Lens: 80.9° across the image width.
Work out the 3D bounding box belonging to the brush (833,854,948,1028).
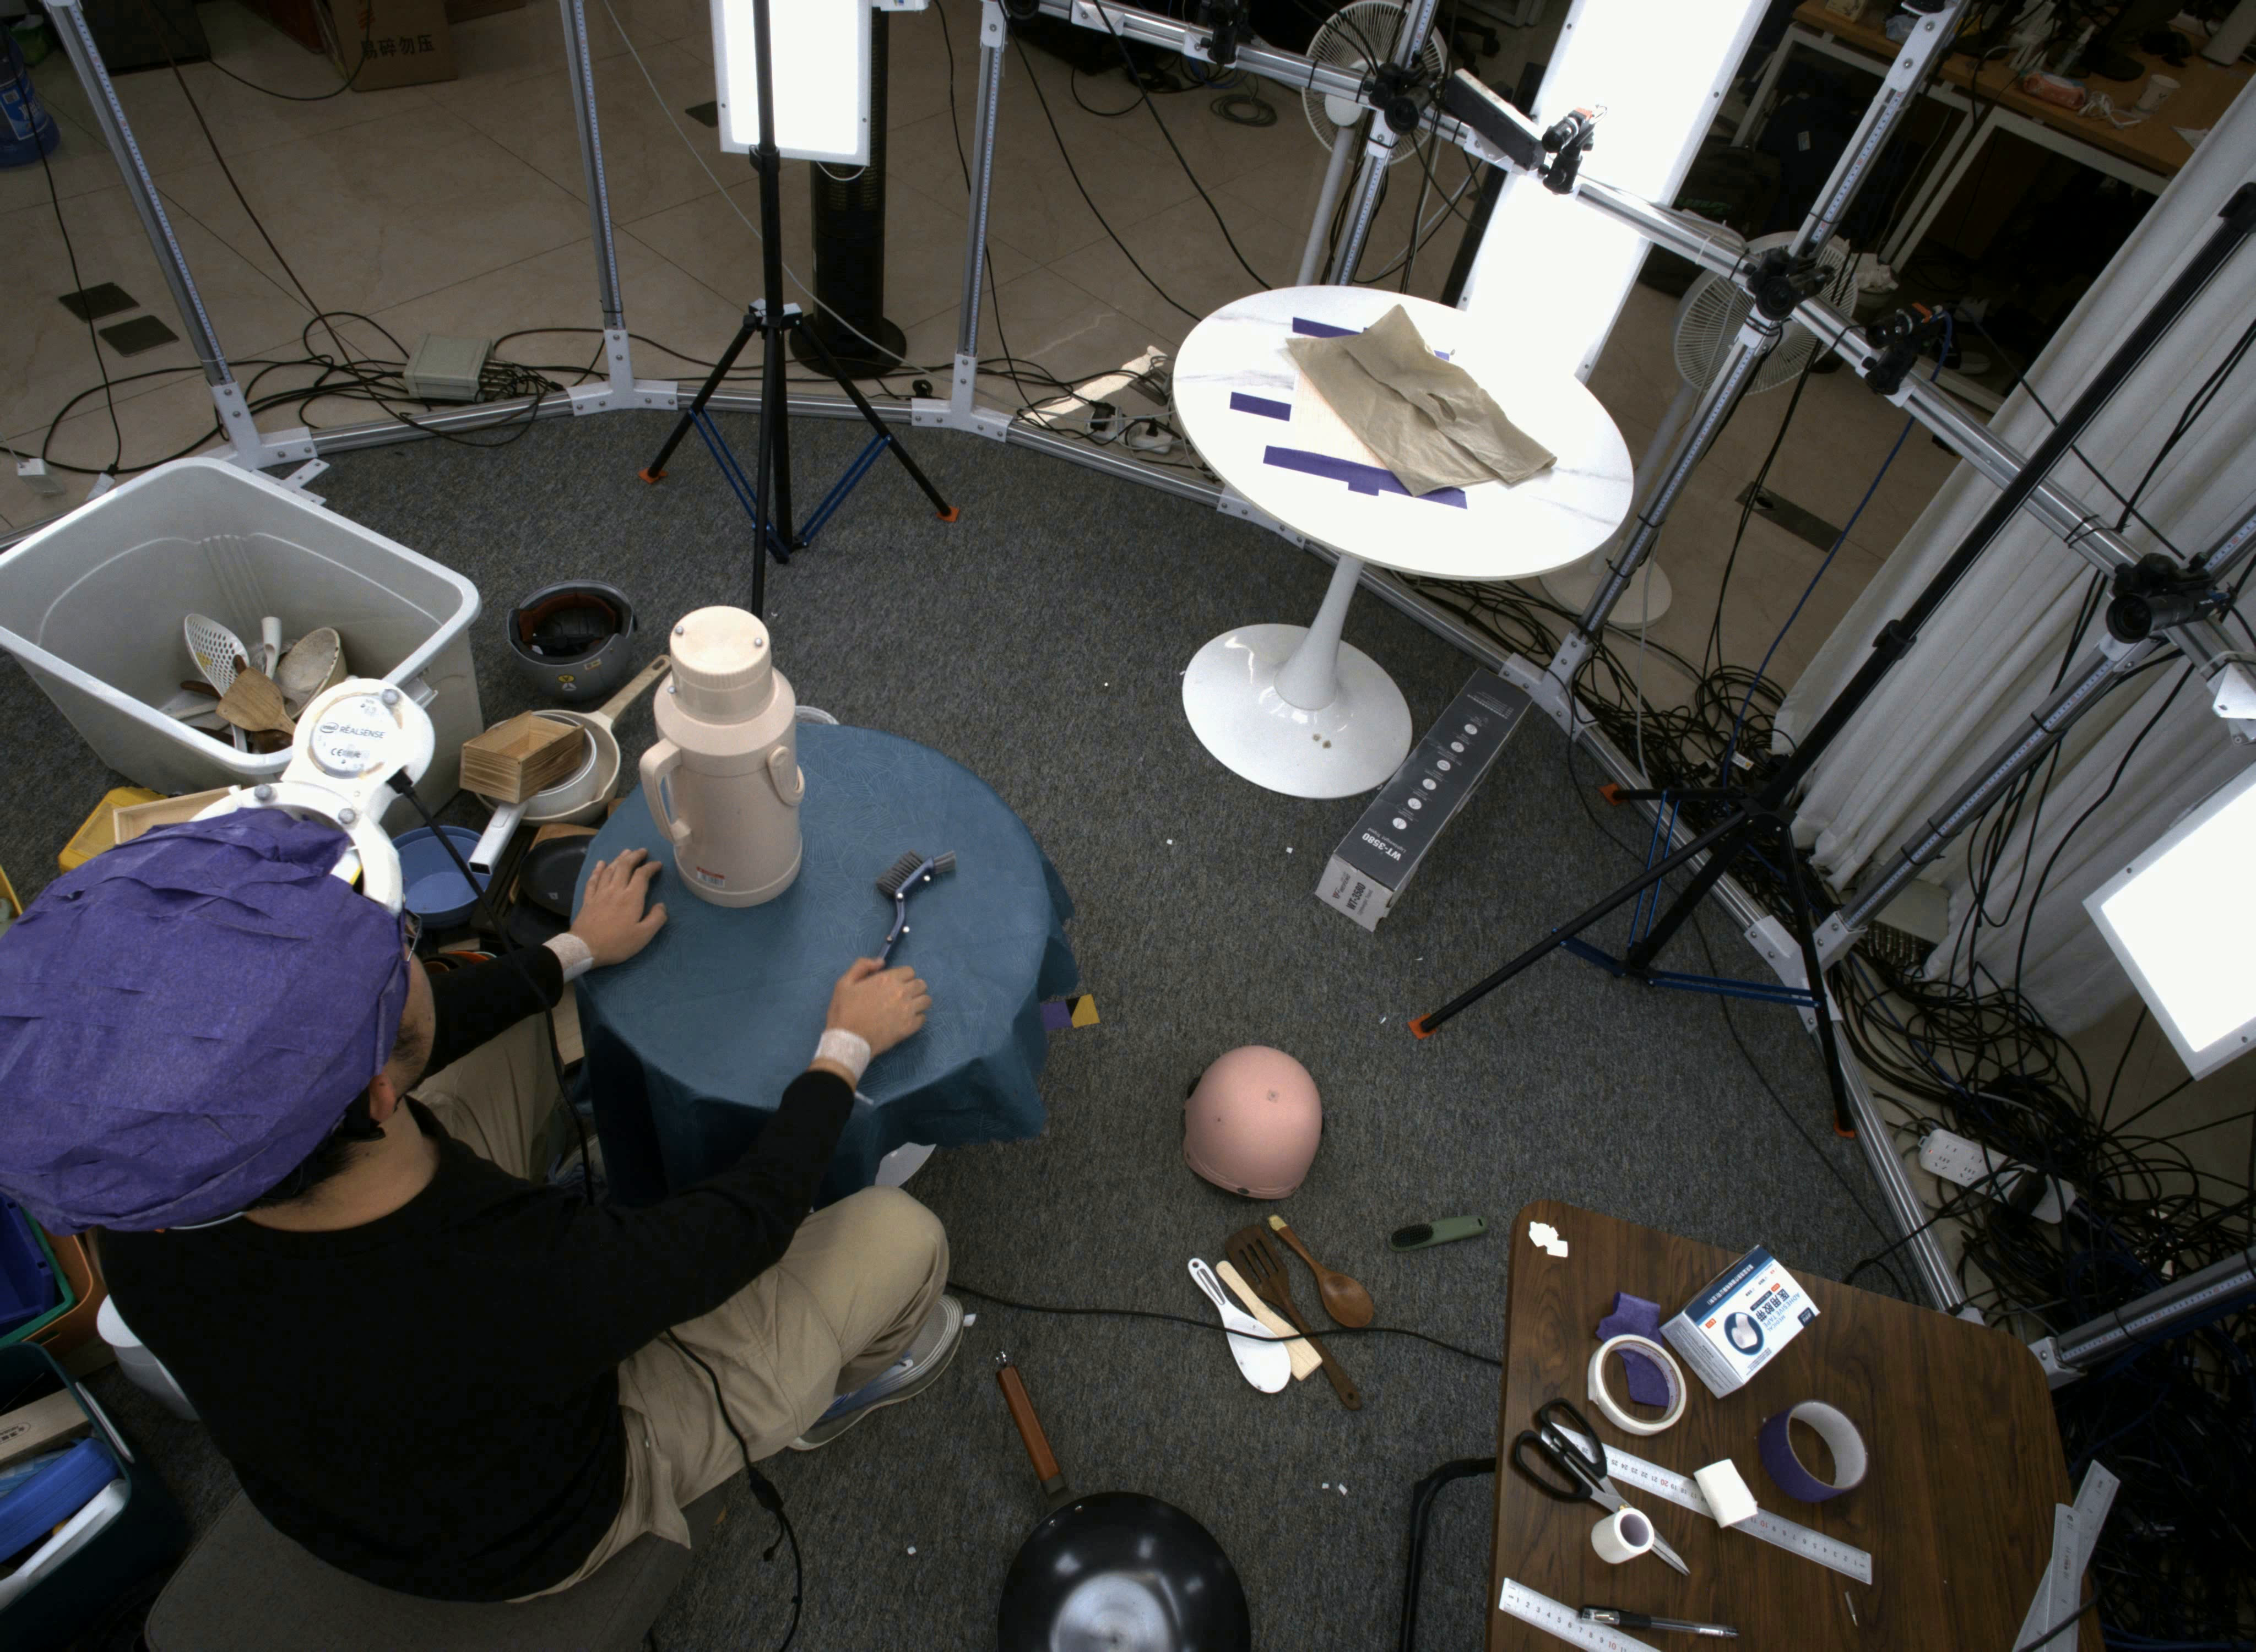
[{"bbox_3d":[-0.300,0.136,1.628,0.095,0.034,0.269,13,49,-3],"label":"brush"}]

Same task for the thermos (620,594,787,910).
[{"bbox_3d":[-0.497,-0.075,1.498,0.172,0.414,0.207,34,53,13],"label":"thermos"}]
